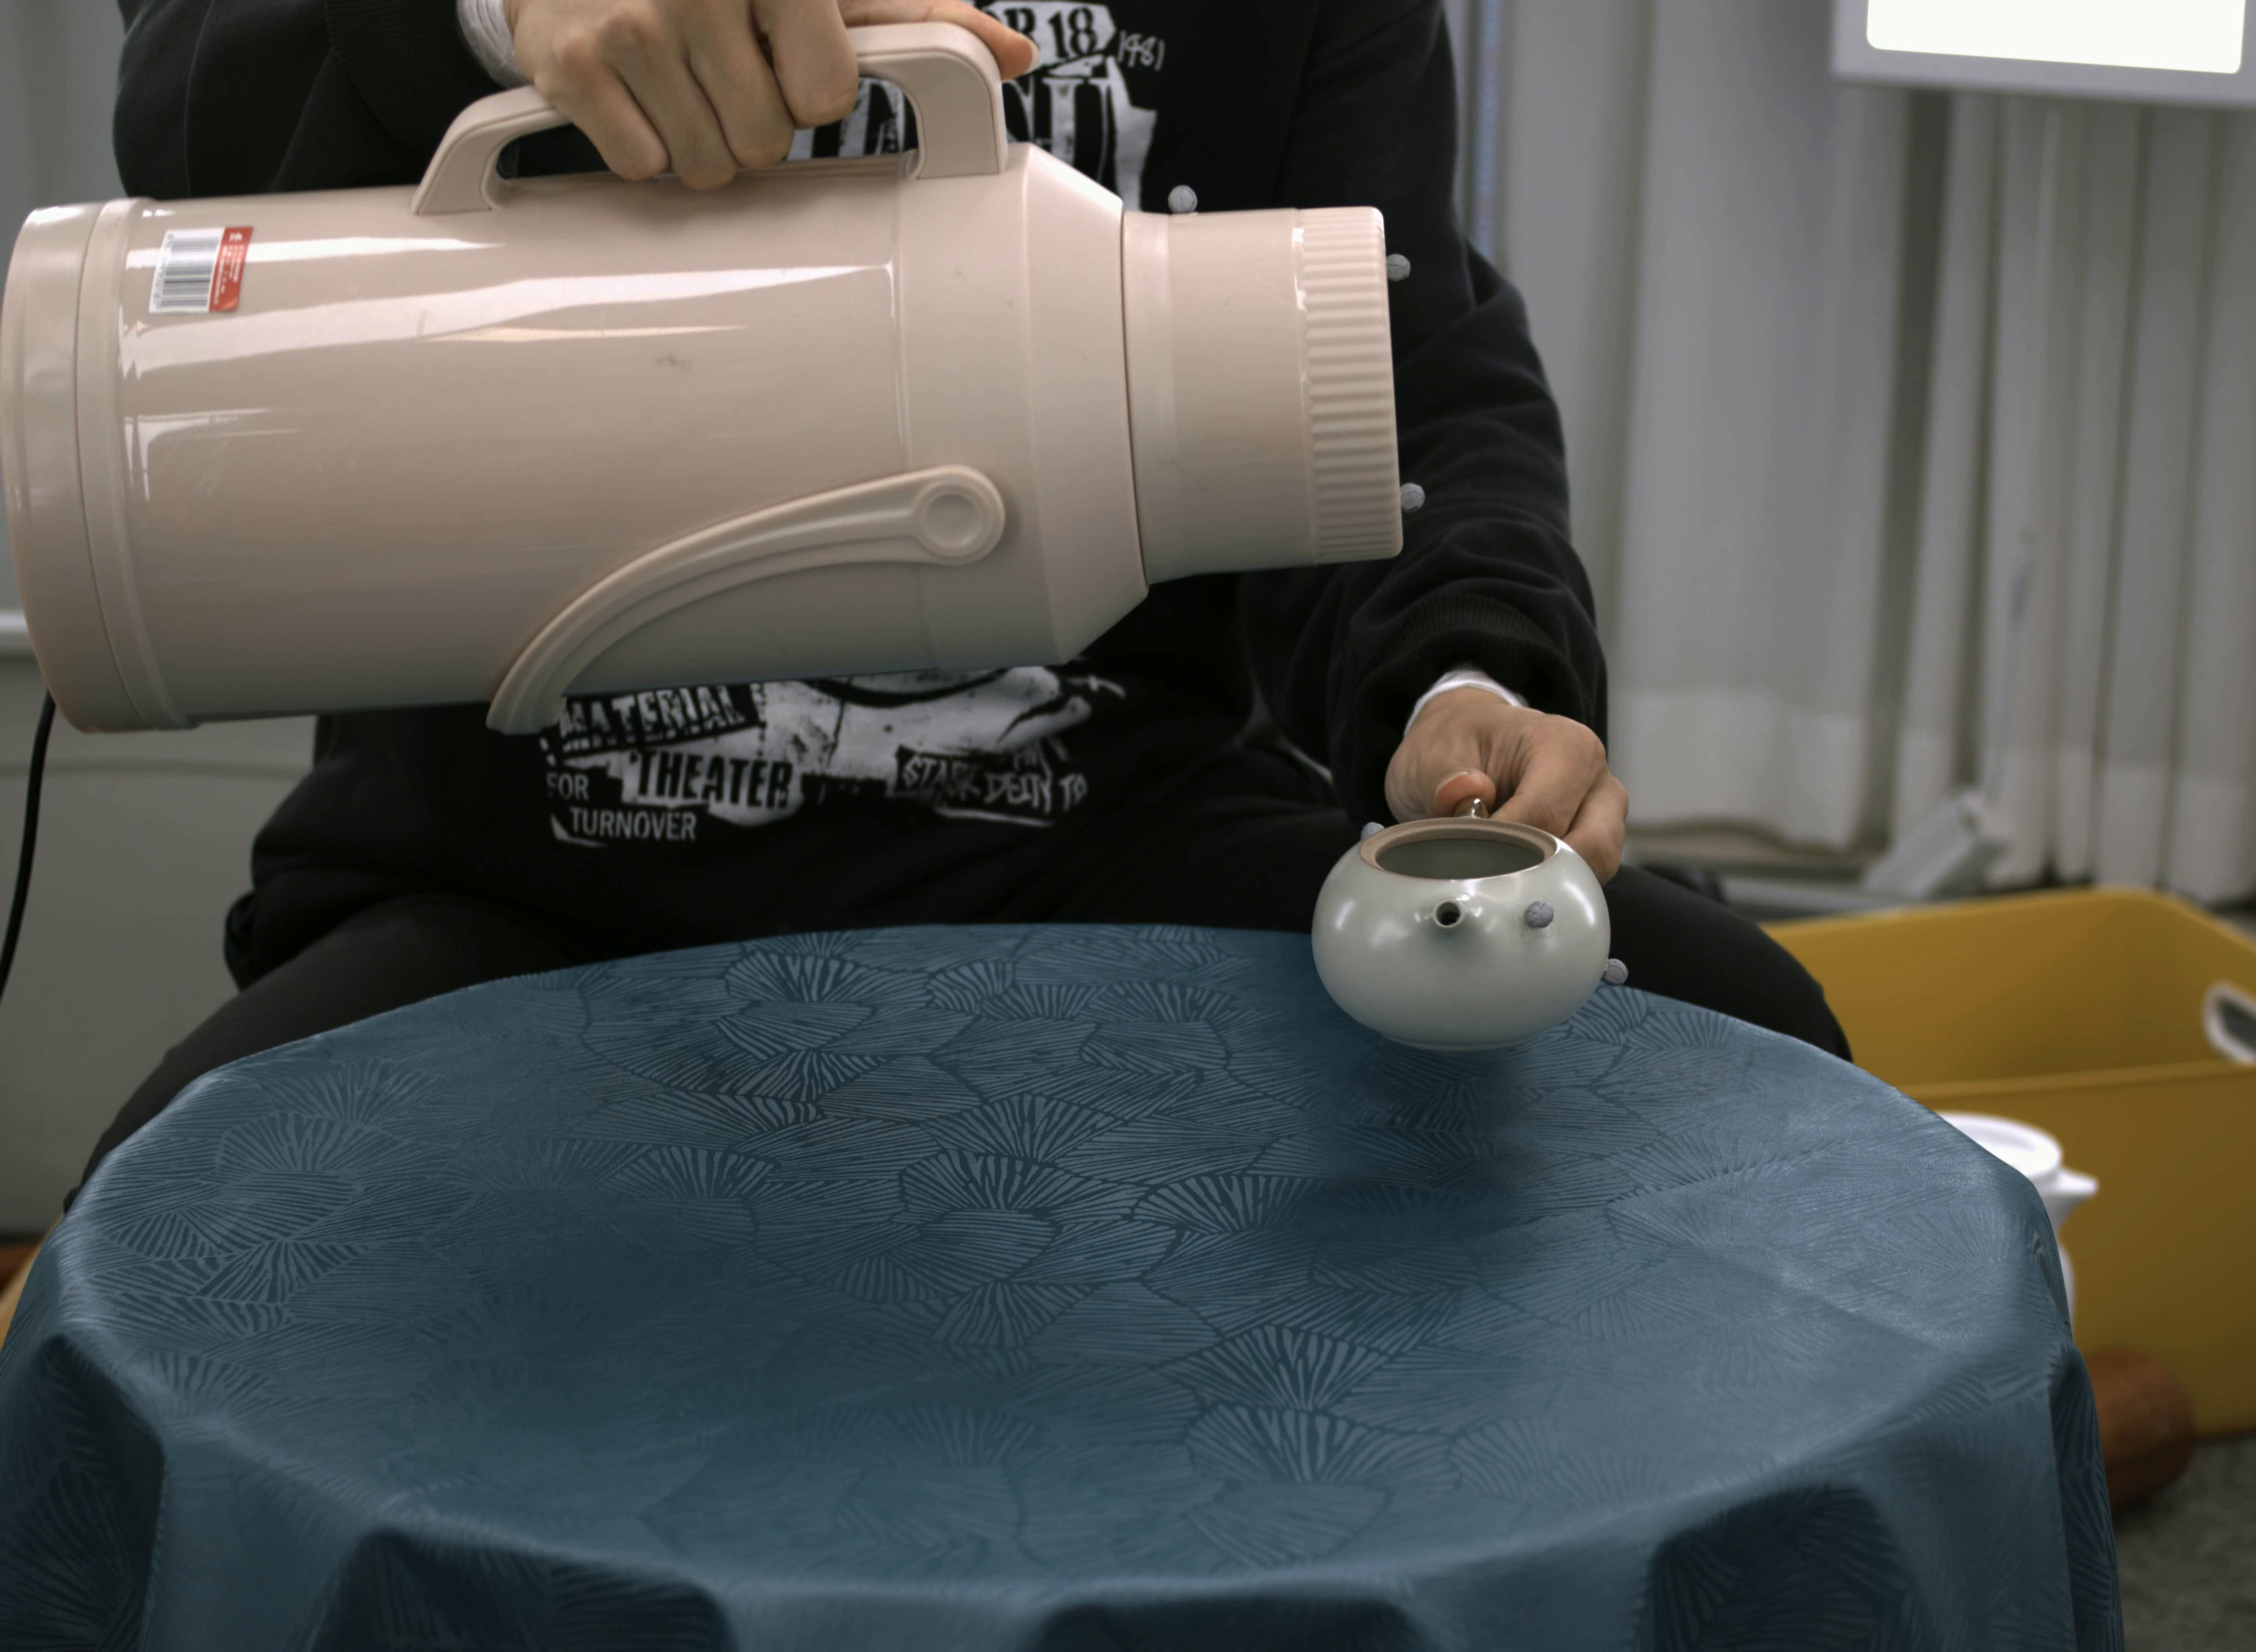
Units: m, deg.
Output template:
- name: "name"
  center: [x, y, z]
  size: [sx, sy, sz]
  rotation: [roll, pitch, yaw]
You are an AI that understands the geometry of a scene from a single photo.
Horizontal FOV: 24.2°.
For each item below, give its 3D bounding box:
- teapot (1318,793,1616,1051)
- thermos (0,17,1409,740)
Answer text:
- name: "teapot"
  center: [0.105, 0.029, 1.627]
  size: [0.091, 0.060, 0.127]
  rotation: [-3, 19, 6]
- name: "thermos"
  center: [-0.122, -0.132, 1.562]
  size: [0.404, 0.209, 0.174]
  rotation: [-4, 27, 4]
